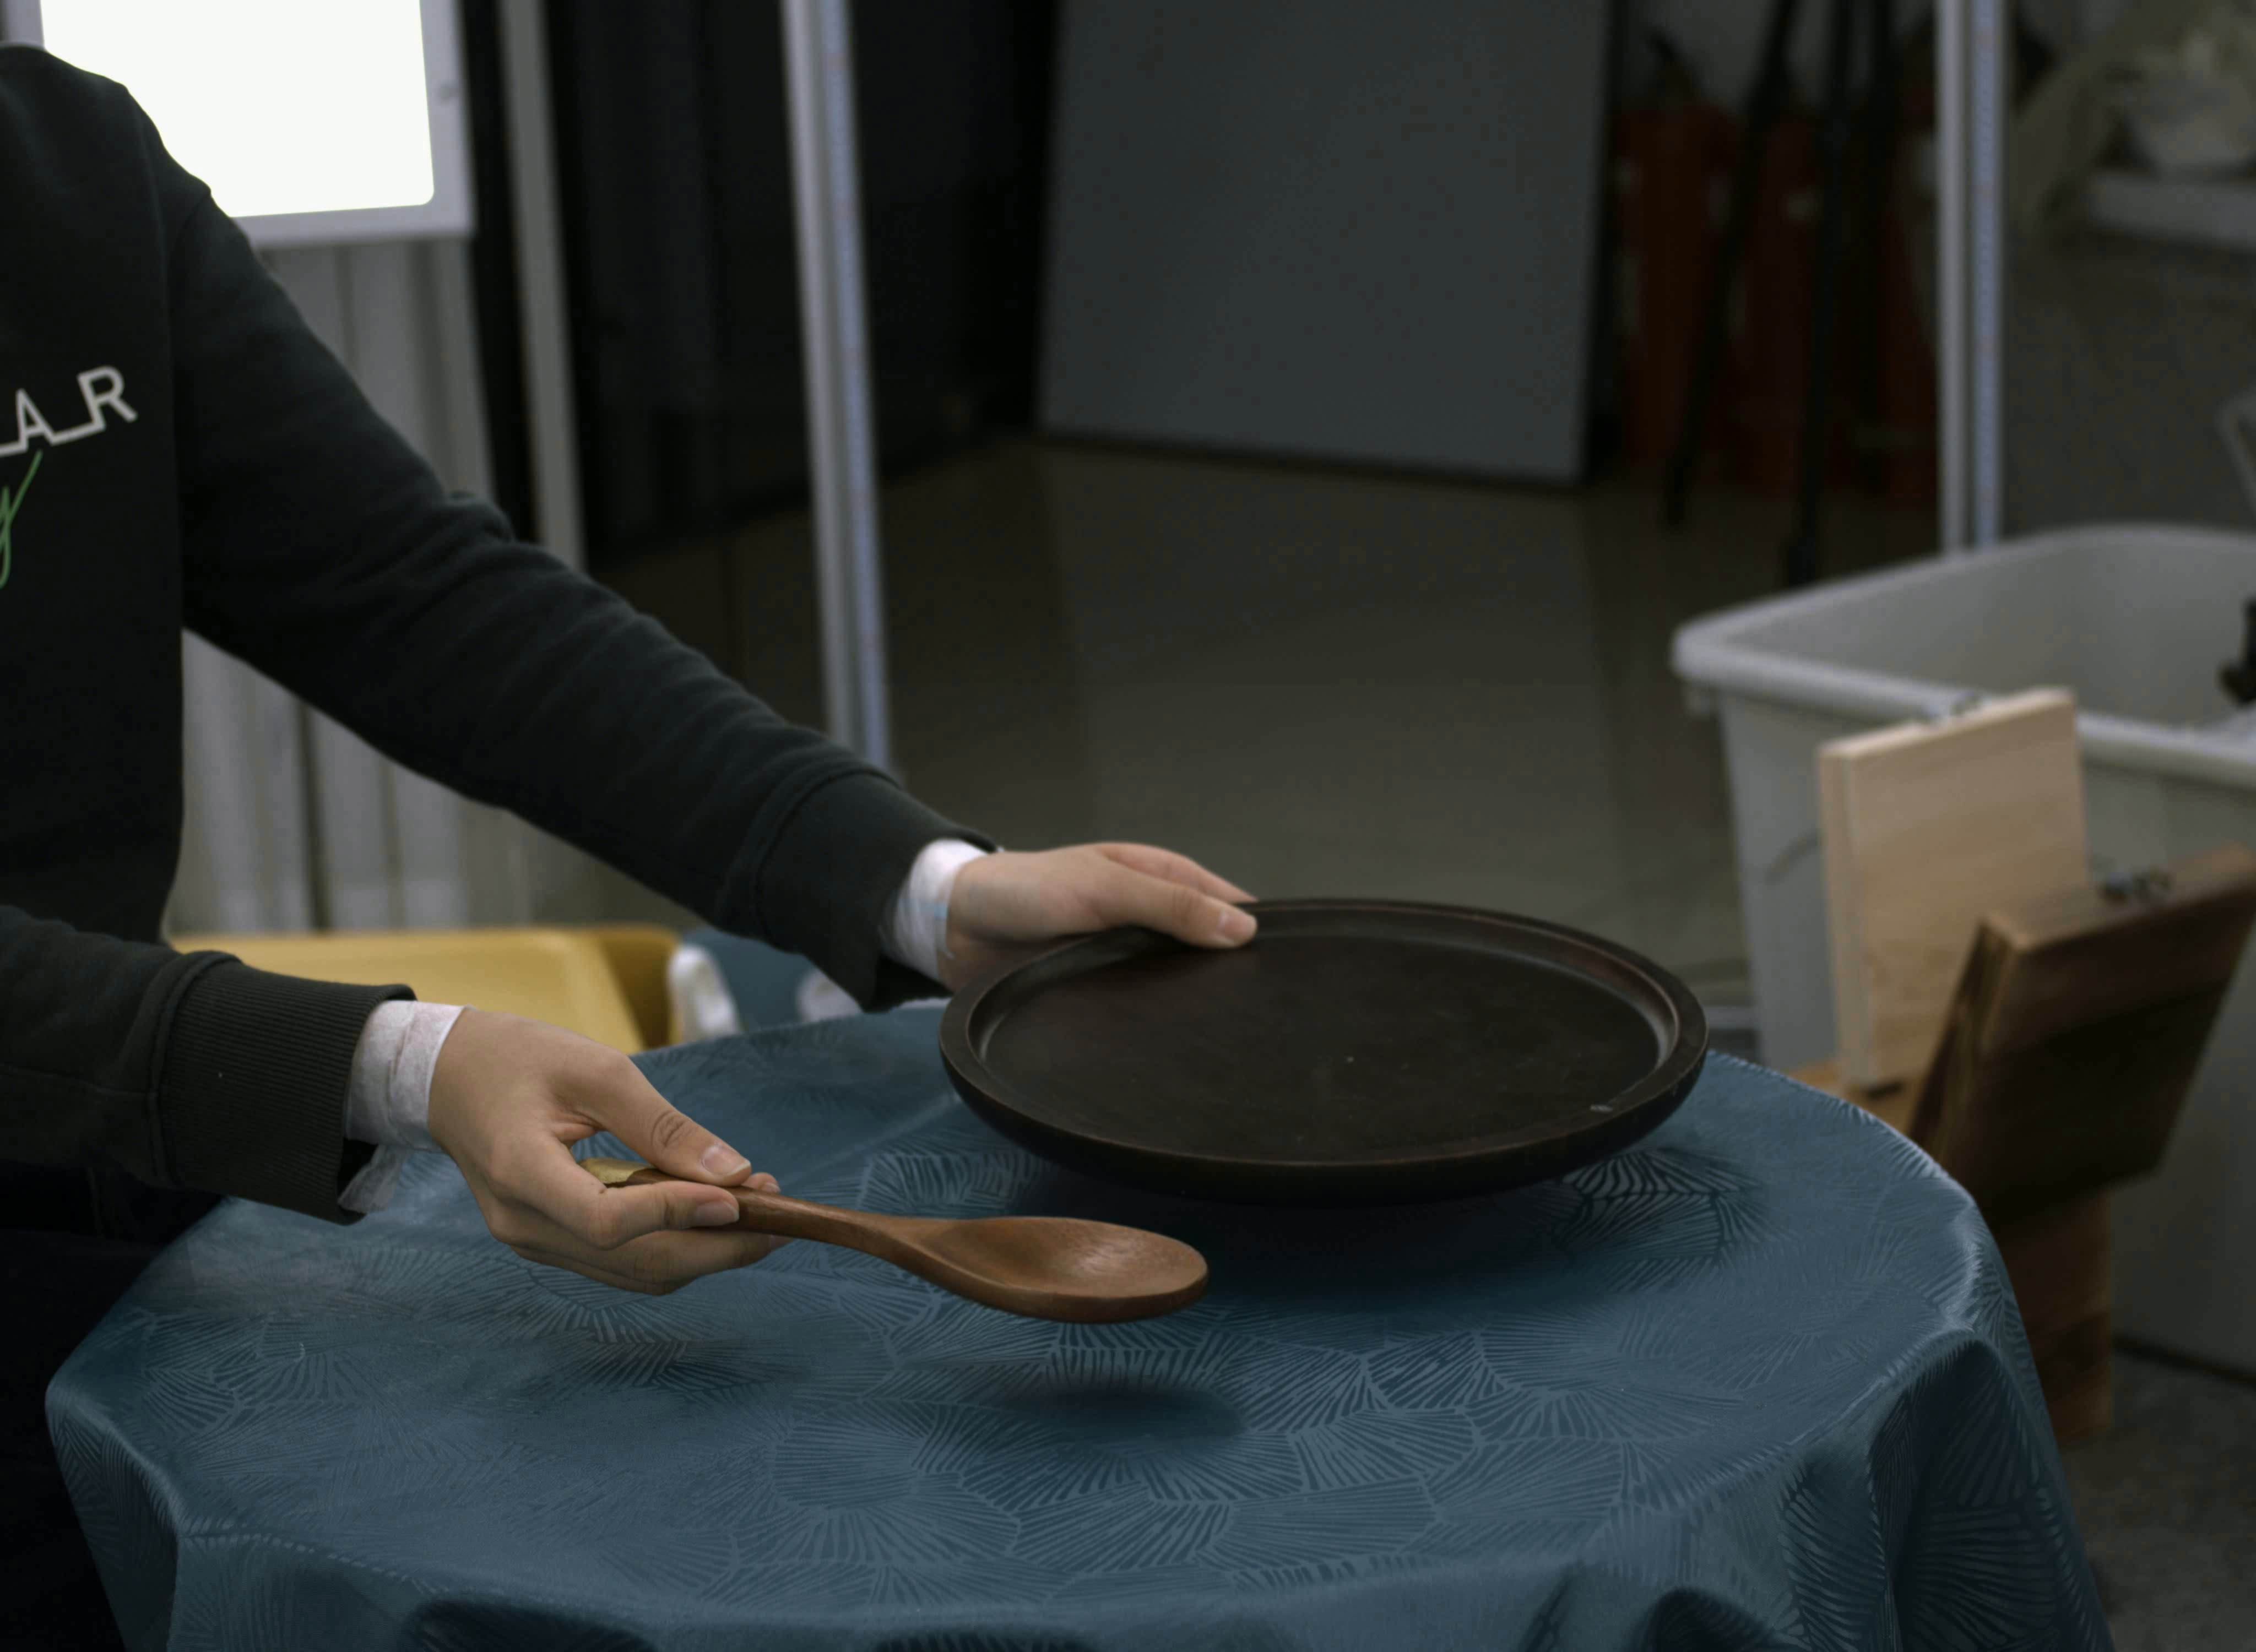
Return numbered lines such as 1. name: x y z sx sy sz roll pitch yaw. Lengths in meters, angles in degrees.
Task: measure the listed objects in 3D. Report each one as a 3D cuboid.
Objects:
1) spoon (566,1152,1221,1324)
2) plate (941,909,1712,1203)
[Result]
1. spoon: -0.073 0.122 1.608 0.216 0.017 0.074 9 15 25
2. plate: 0.064 0.072 1.751 0.251 0.029 0.255 -1 17 -1
